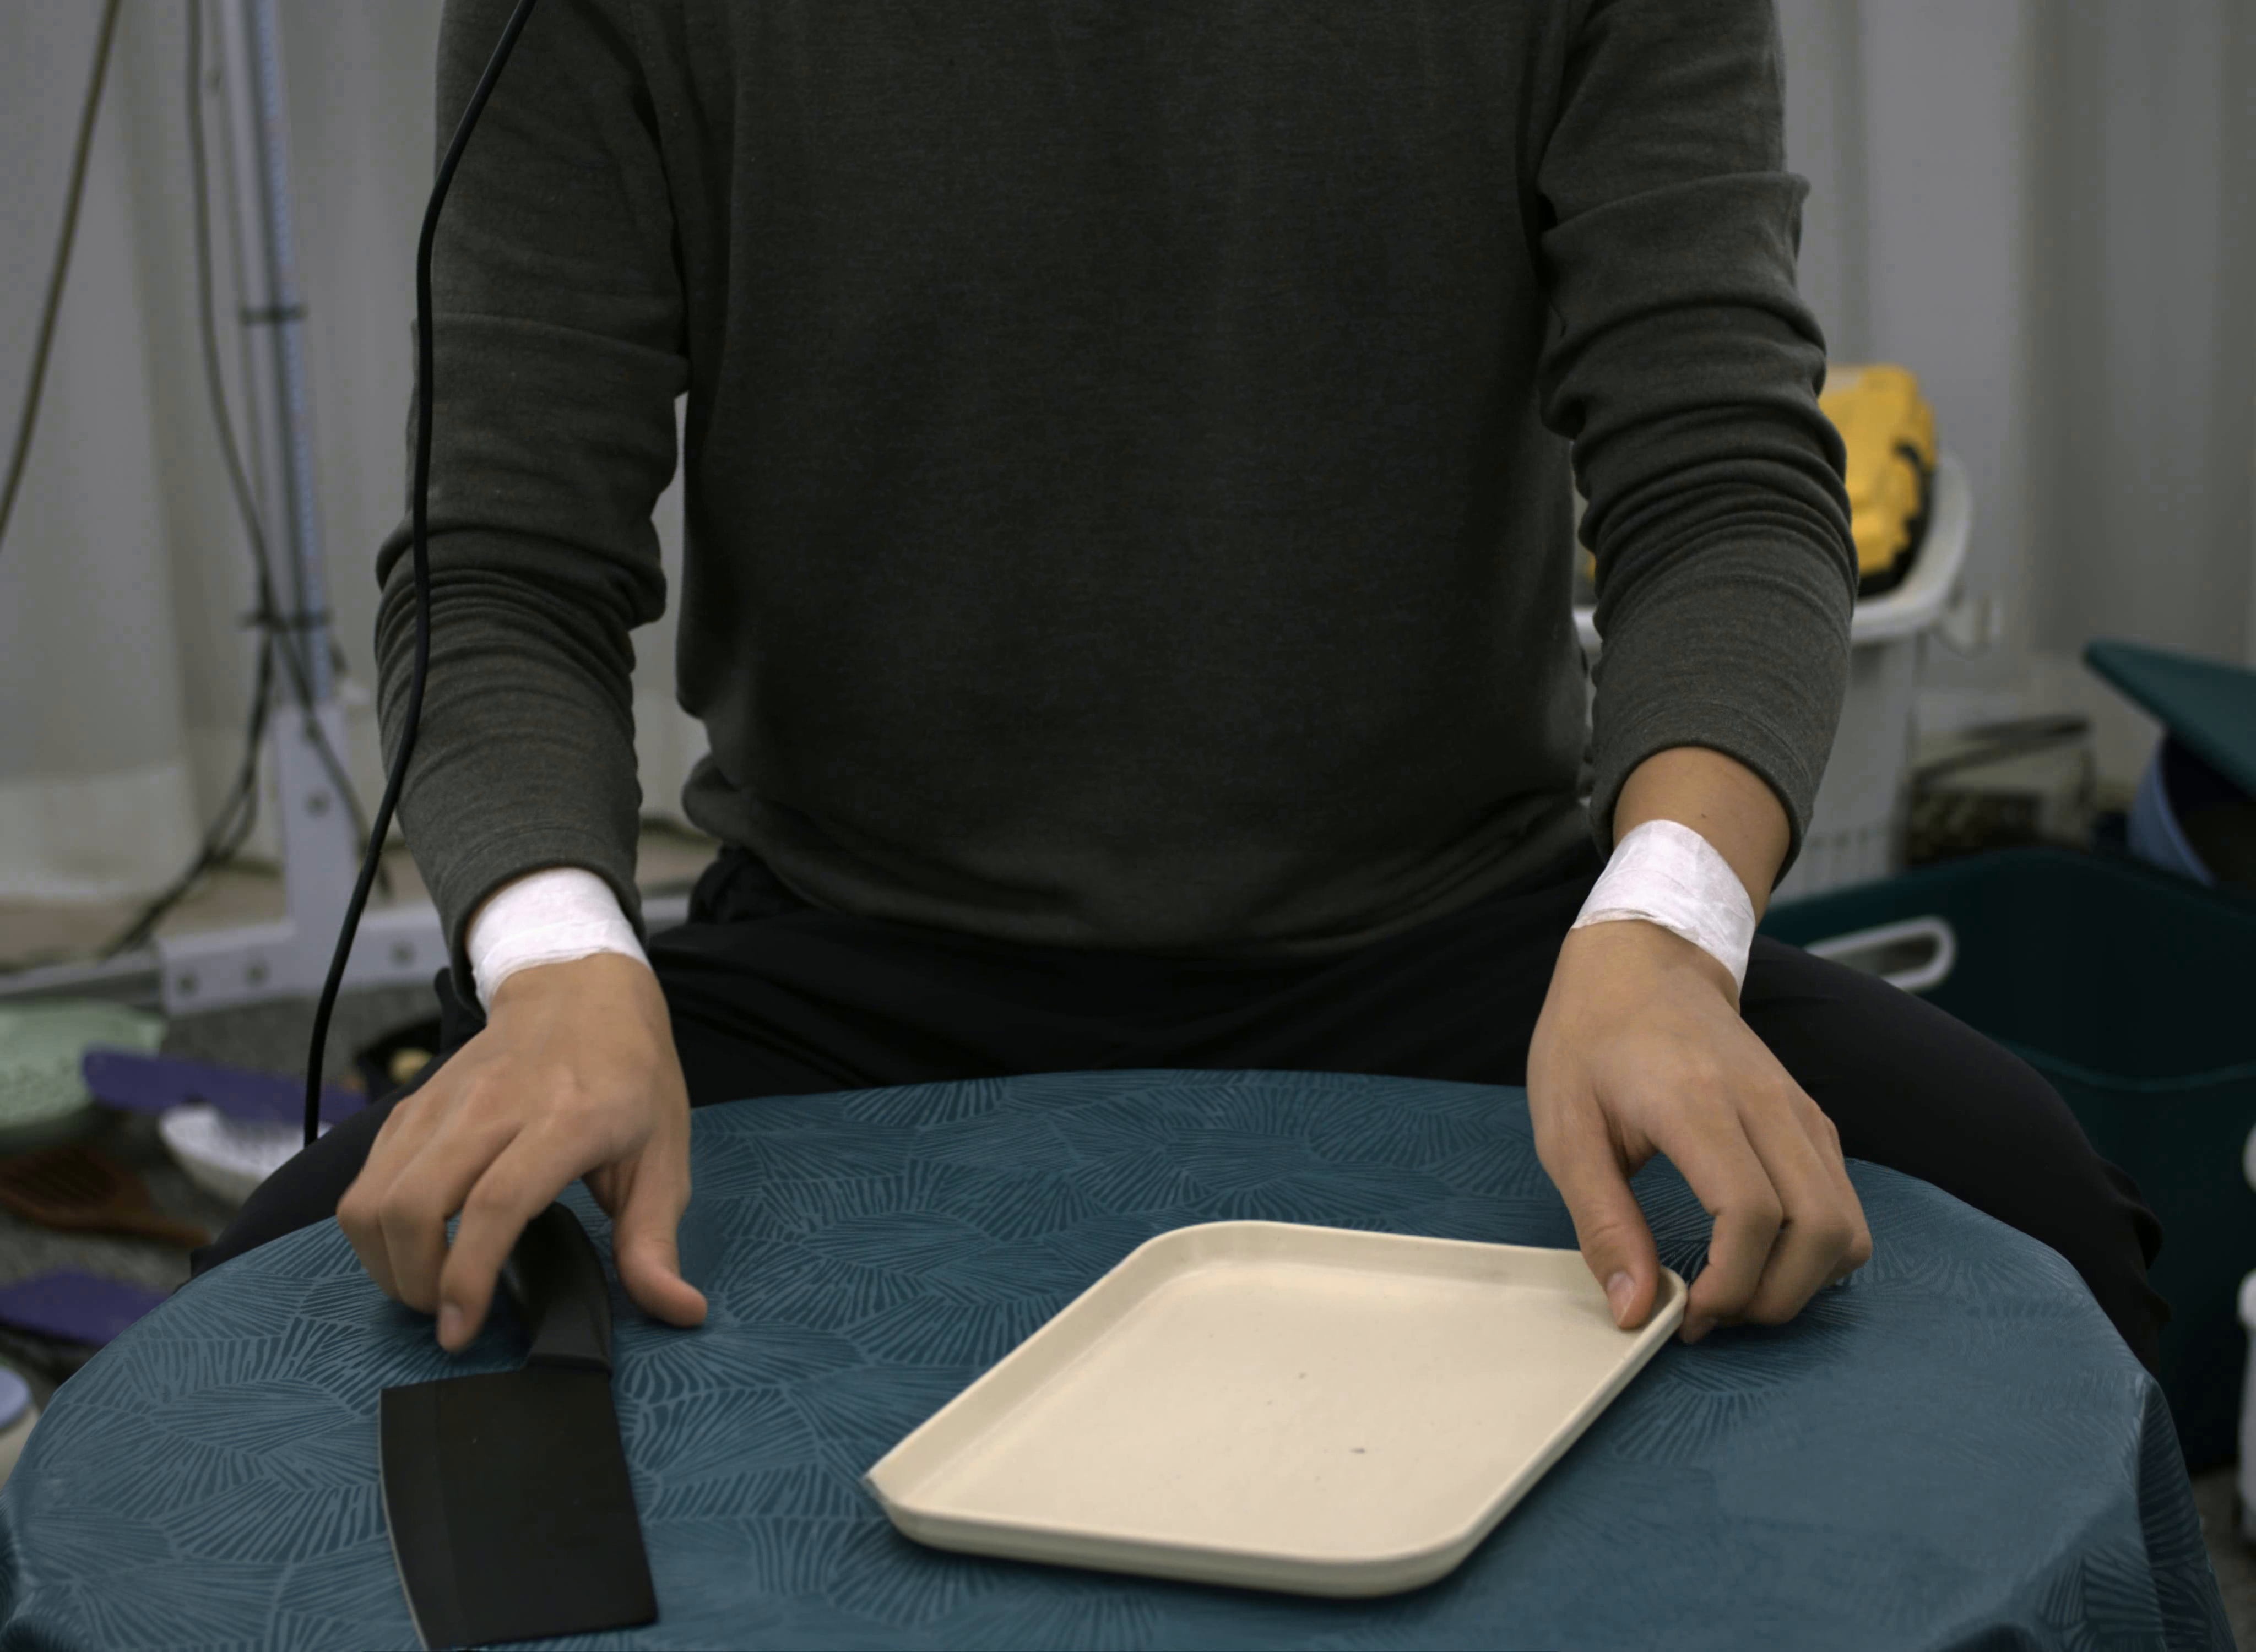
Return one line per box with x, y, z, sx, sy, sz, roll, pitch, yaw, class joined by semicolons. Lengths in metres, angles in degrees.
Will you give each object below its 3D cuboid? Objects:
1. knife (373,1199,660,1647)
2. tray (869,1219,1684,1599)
-0.172;0.165;1.535;0.080;0.021;0.305;-5;17;-4;knife
0.045;0.159;1.507;0.171;0.017;0.240;4;16;23;tray
